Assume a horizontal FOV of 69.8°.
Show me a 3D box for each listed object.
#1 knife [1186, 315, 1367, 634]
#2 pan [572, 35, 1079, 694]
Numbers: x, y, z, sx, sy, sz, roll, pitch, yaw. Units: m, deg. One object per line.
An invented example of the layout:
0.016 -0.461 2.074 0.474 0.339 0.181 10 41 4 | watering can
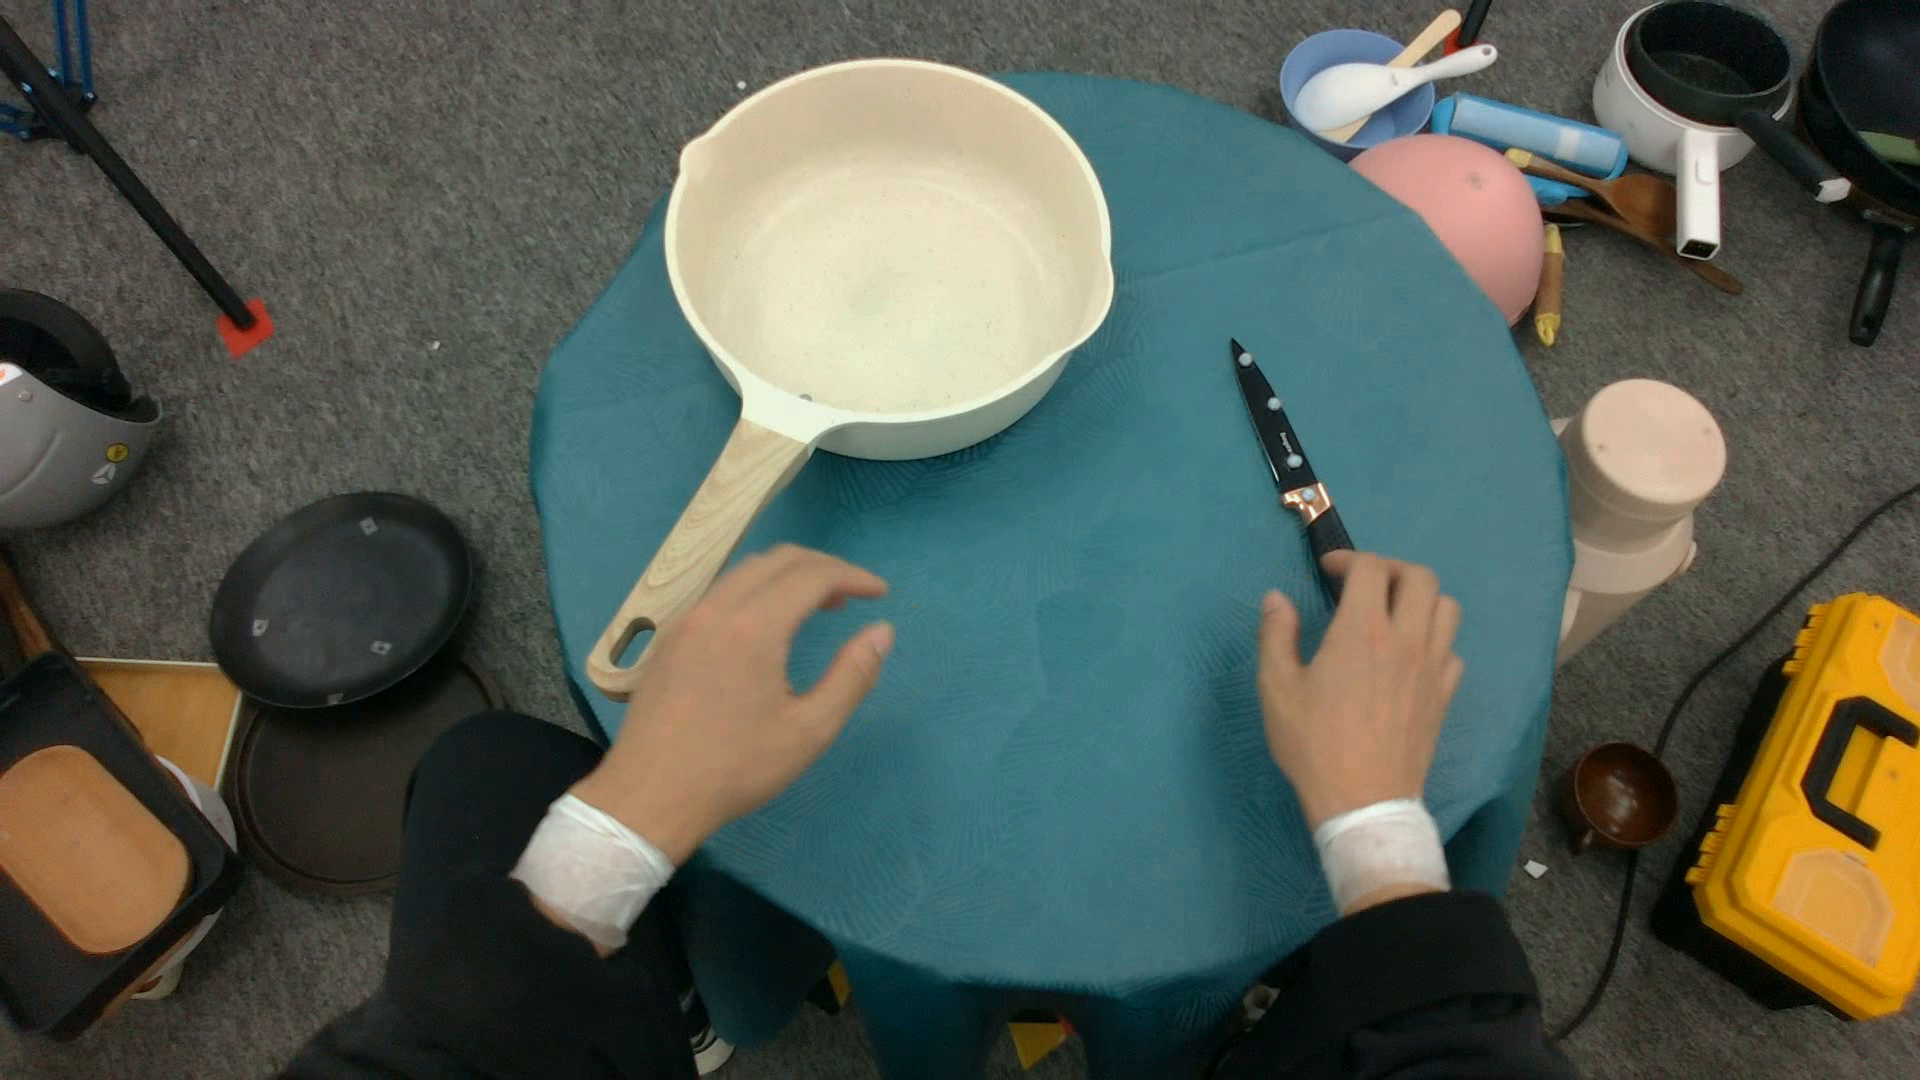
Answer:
0.183 -0.045 0.807 0.026 0.017 0.226 -22 66 5 | knife
-0.096 -0.098 0.768 0.263 0.101 0.436 22 66 5 | pan
